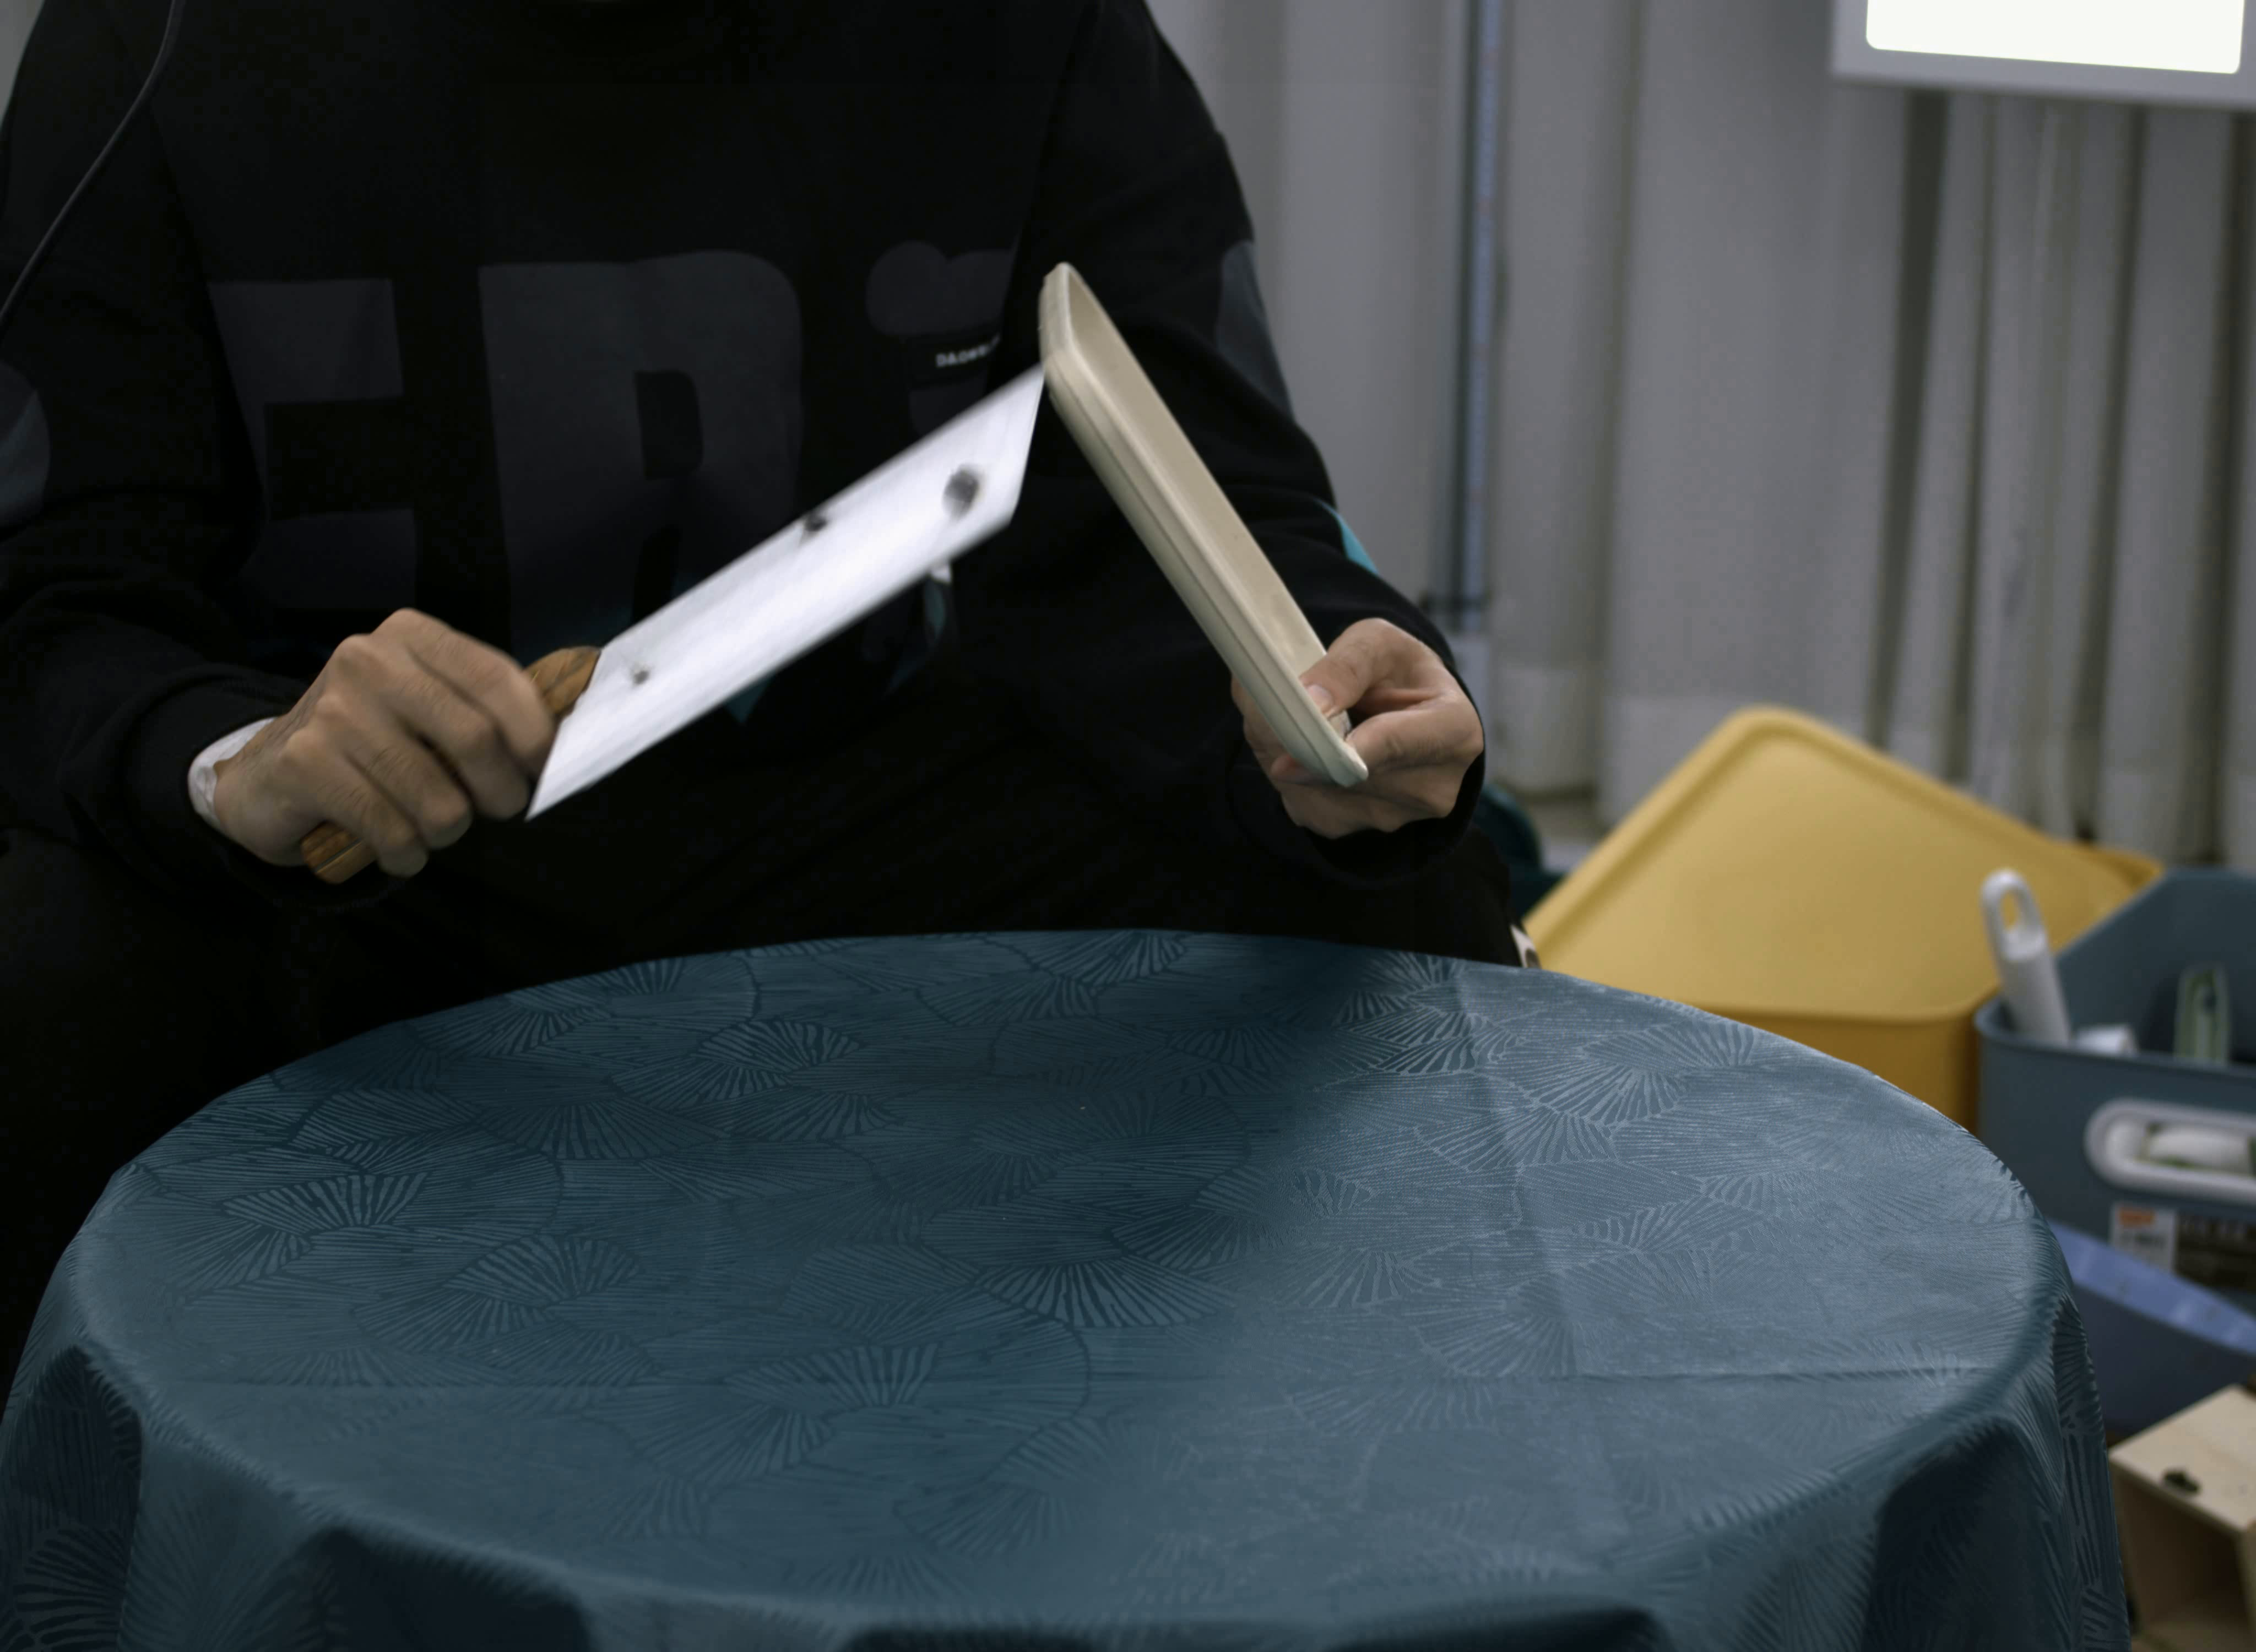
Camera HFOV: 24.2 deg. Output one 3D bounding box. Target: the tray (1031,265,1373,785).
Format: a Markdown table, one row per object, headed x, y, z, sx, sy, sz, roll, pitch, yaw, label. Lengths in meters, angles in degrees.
| x | y | z | sx | sy | sz | roll | pitch | yaw | label |
| --- | --- | --- | --- | --- | --- | --- | --- | --- | --- |
| 0.019 | -0.099 | 1.714 | 0.017 | 0.172 | 0.238 | -34 | 11 | 6 | tray |

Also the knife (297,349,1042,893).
| x | y | z | sx | sy | sz | roll | pitch | yaw | label |
| --- | --- | --- | --- | --- | --- | --- | --- | --- | --- |
| -0.147 | -0.051 | 1.629 | 0.305 | 0.021 | 0.092 | -32 | 25 | 22 | knife |
